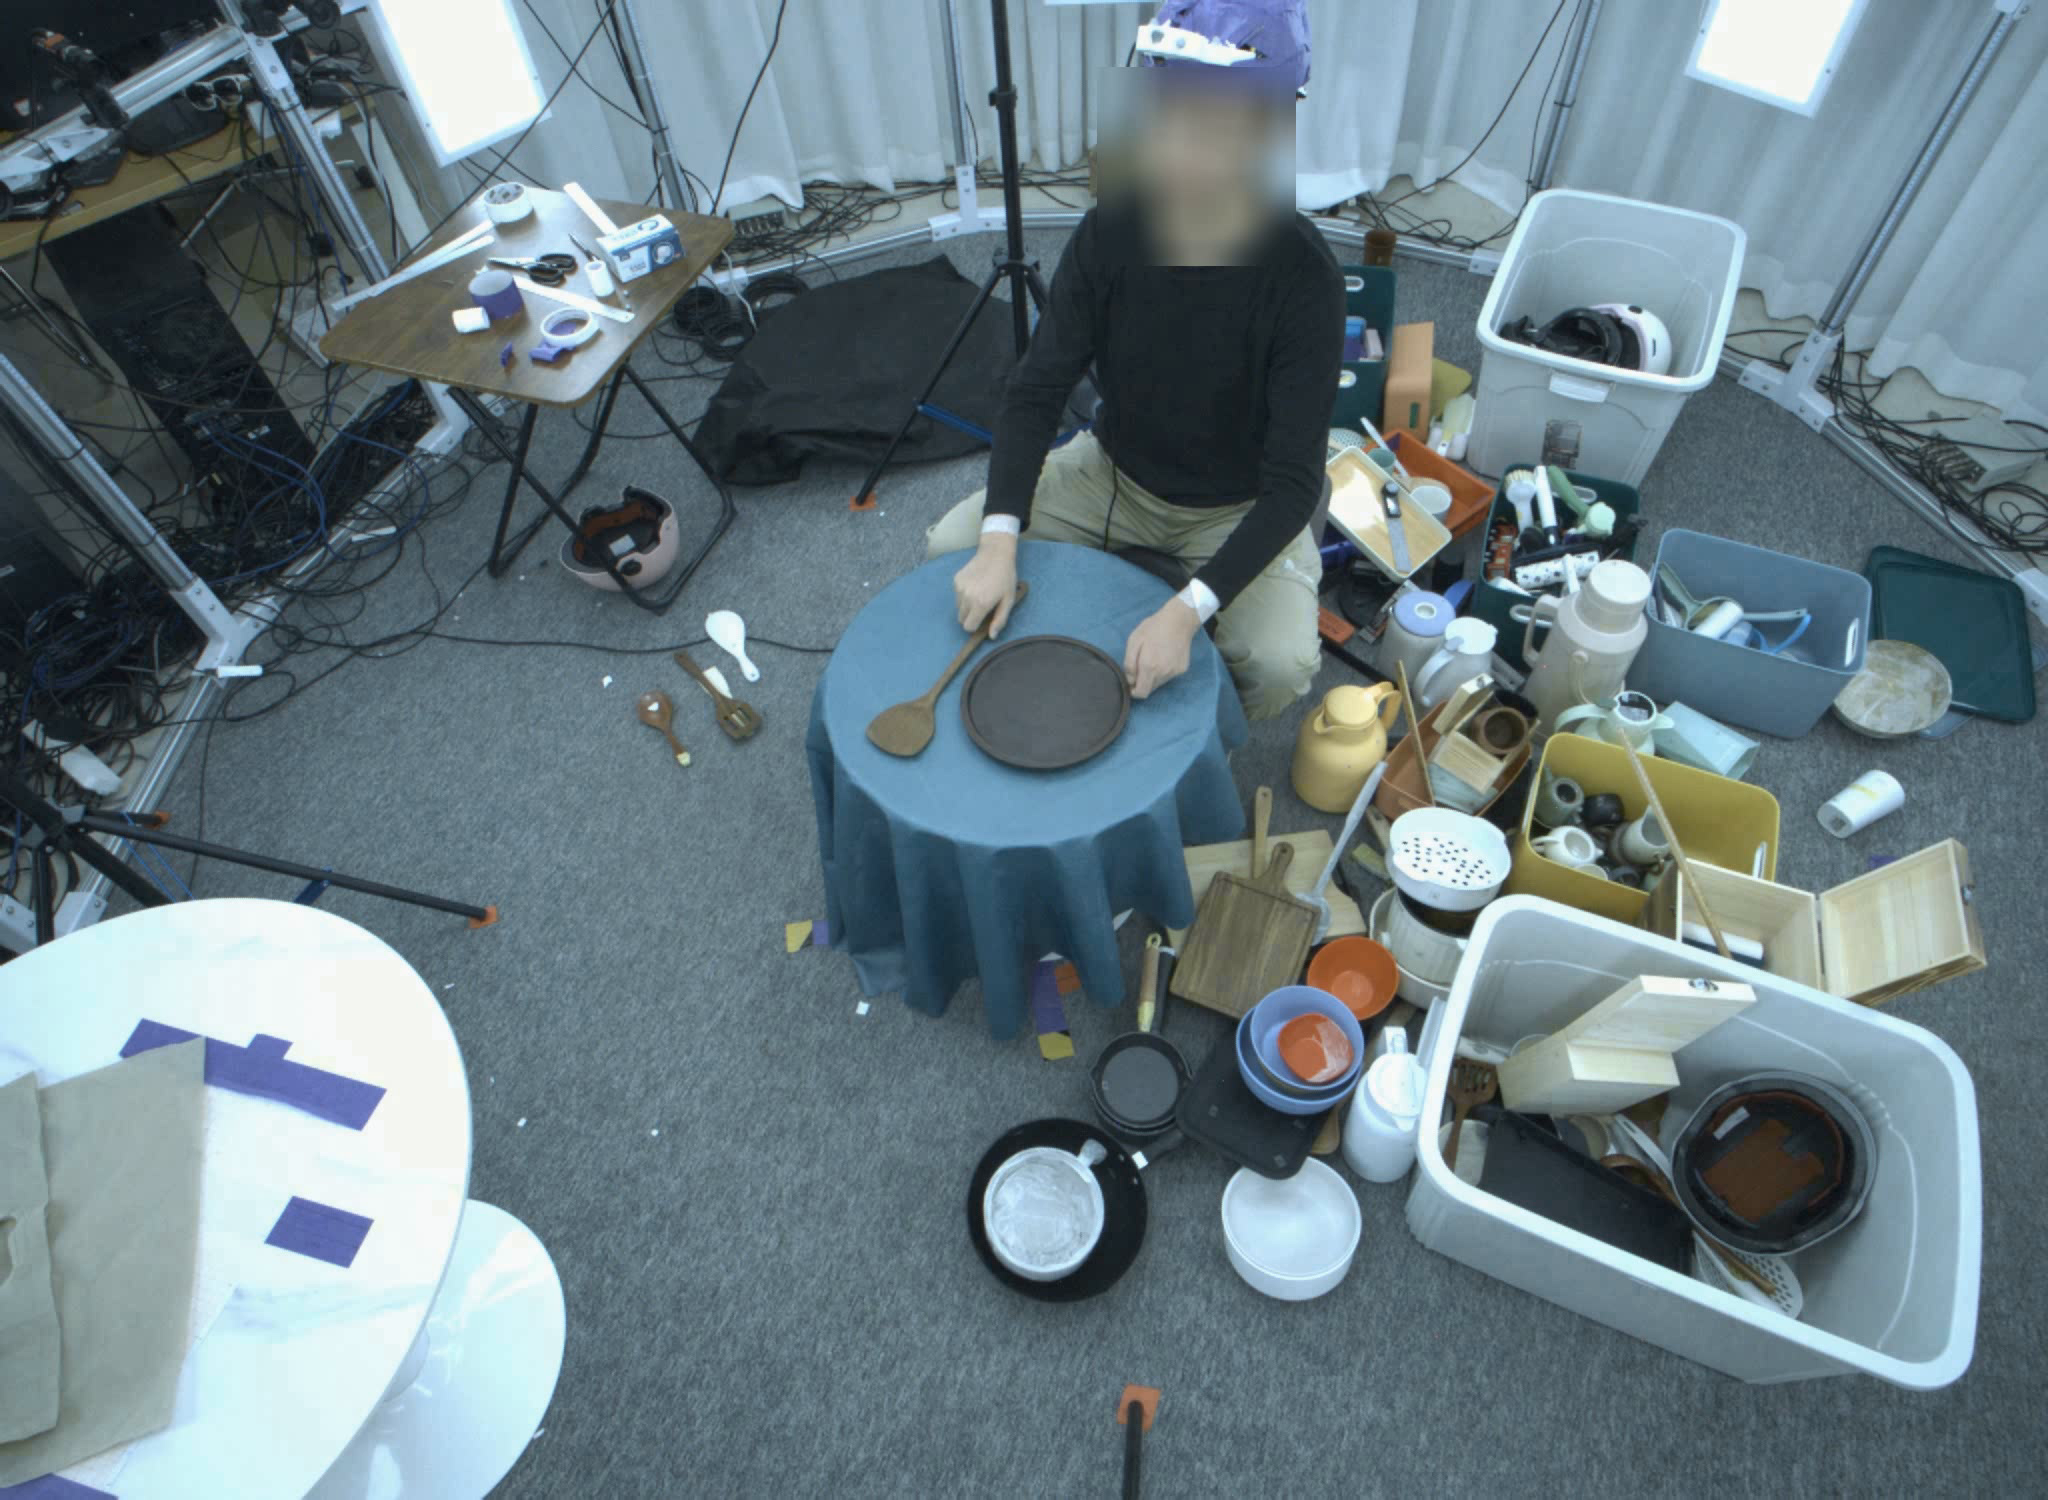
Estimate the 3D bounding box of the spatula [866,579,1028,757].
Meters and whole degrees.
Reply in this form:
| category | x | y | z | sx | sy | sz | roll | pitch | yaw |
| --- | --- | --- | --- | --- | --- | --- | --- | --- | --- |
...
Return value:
| category | x | y | z | sx | sy | sz | roll | pitch | yaw |
| --- | --- | --- | --- | --- | --- | --- | --- | --- | --- |
| spatula | -0.101 | -0.136 | 1.875 | 0.095 | 0.016 | 0.387 | 26 | 61 | 18 |

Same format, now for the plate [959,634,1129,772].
| category | x | y | z | sx | sy | sz | roll | pitch | yaw |
| --- | --- | --- | --- | --- | --- | --- | --- | --- | --- |
| plate | 0.030 | -0.071 | 1.822 | 0.254 | 0.029 | 0.252 | -1 | 55 | 3 |
